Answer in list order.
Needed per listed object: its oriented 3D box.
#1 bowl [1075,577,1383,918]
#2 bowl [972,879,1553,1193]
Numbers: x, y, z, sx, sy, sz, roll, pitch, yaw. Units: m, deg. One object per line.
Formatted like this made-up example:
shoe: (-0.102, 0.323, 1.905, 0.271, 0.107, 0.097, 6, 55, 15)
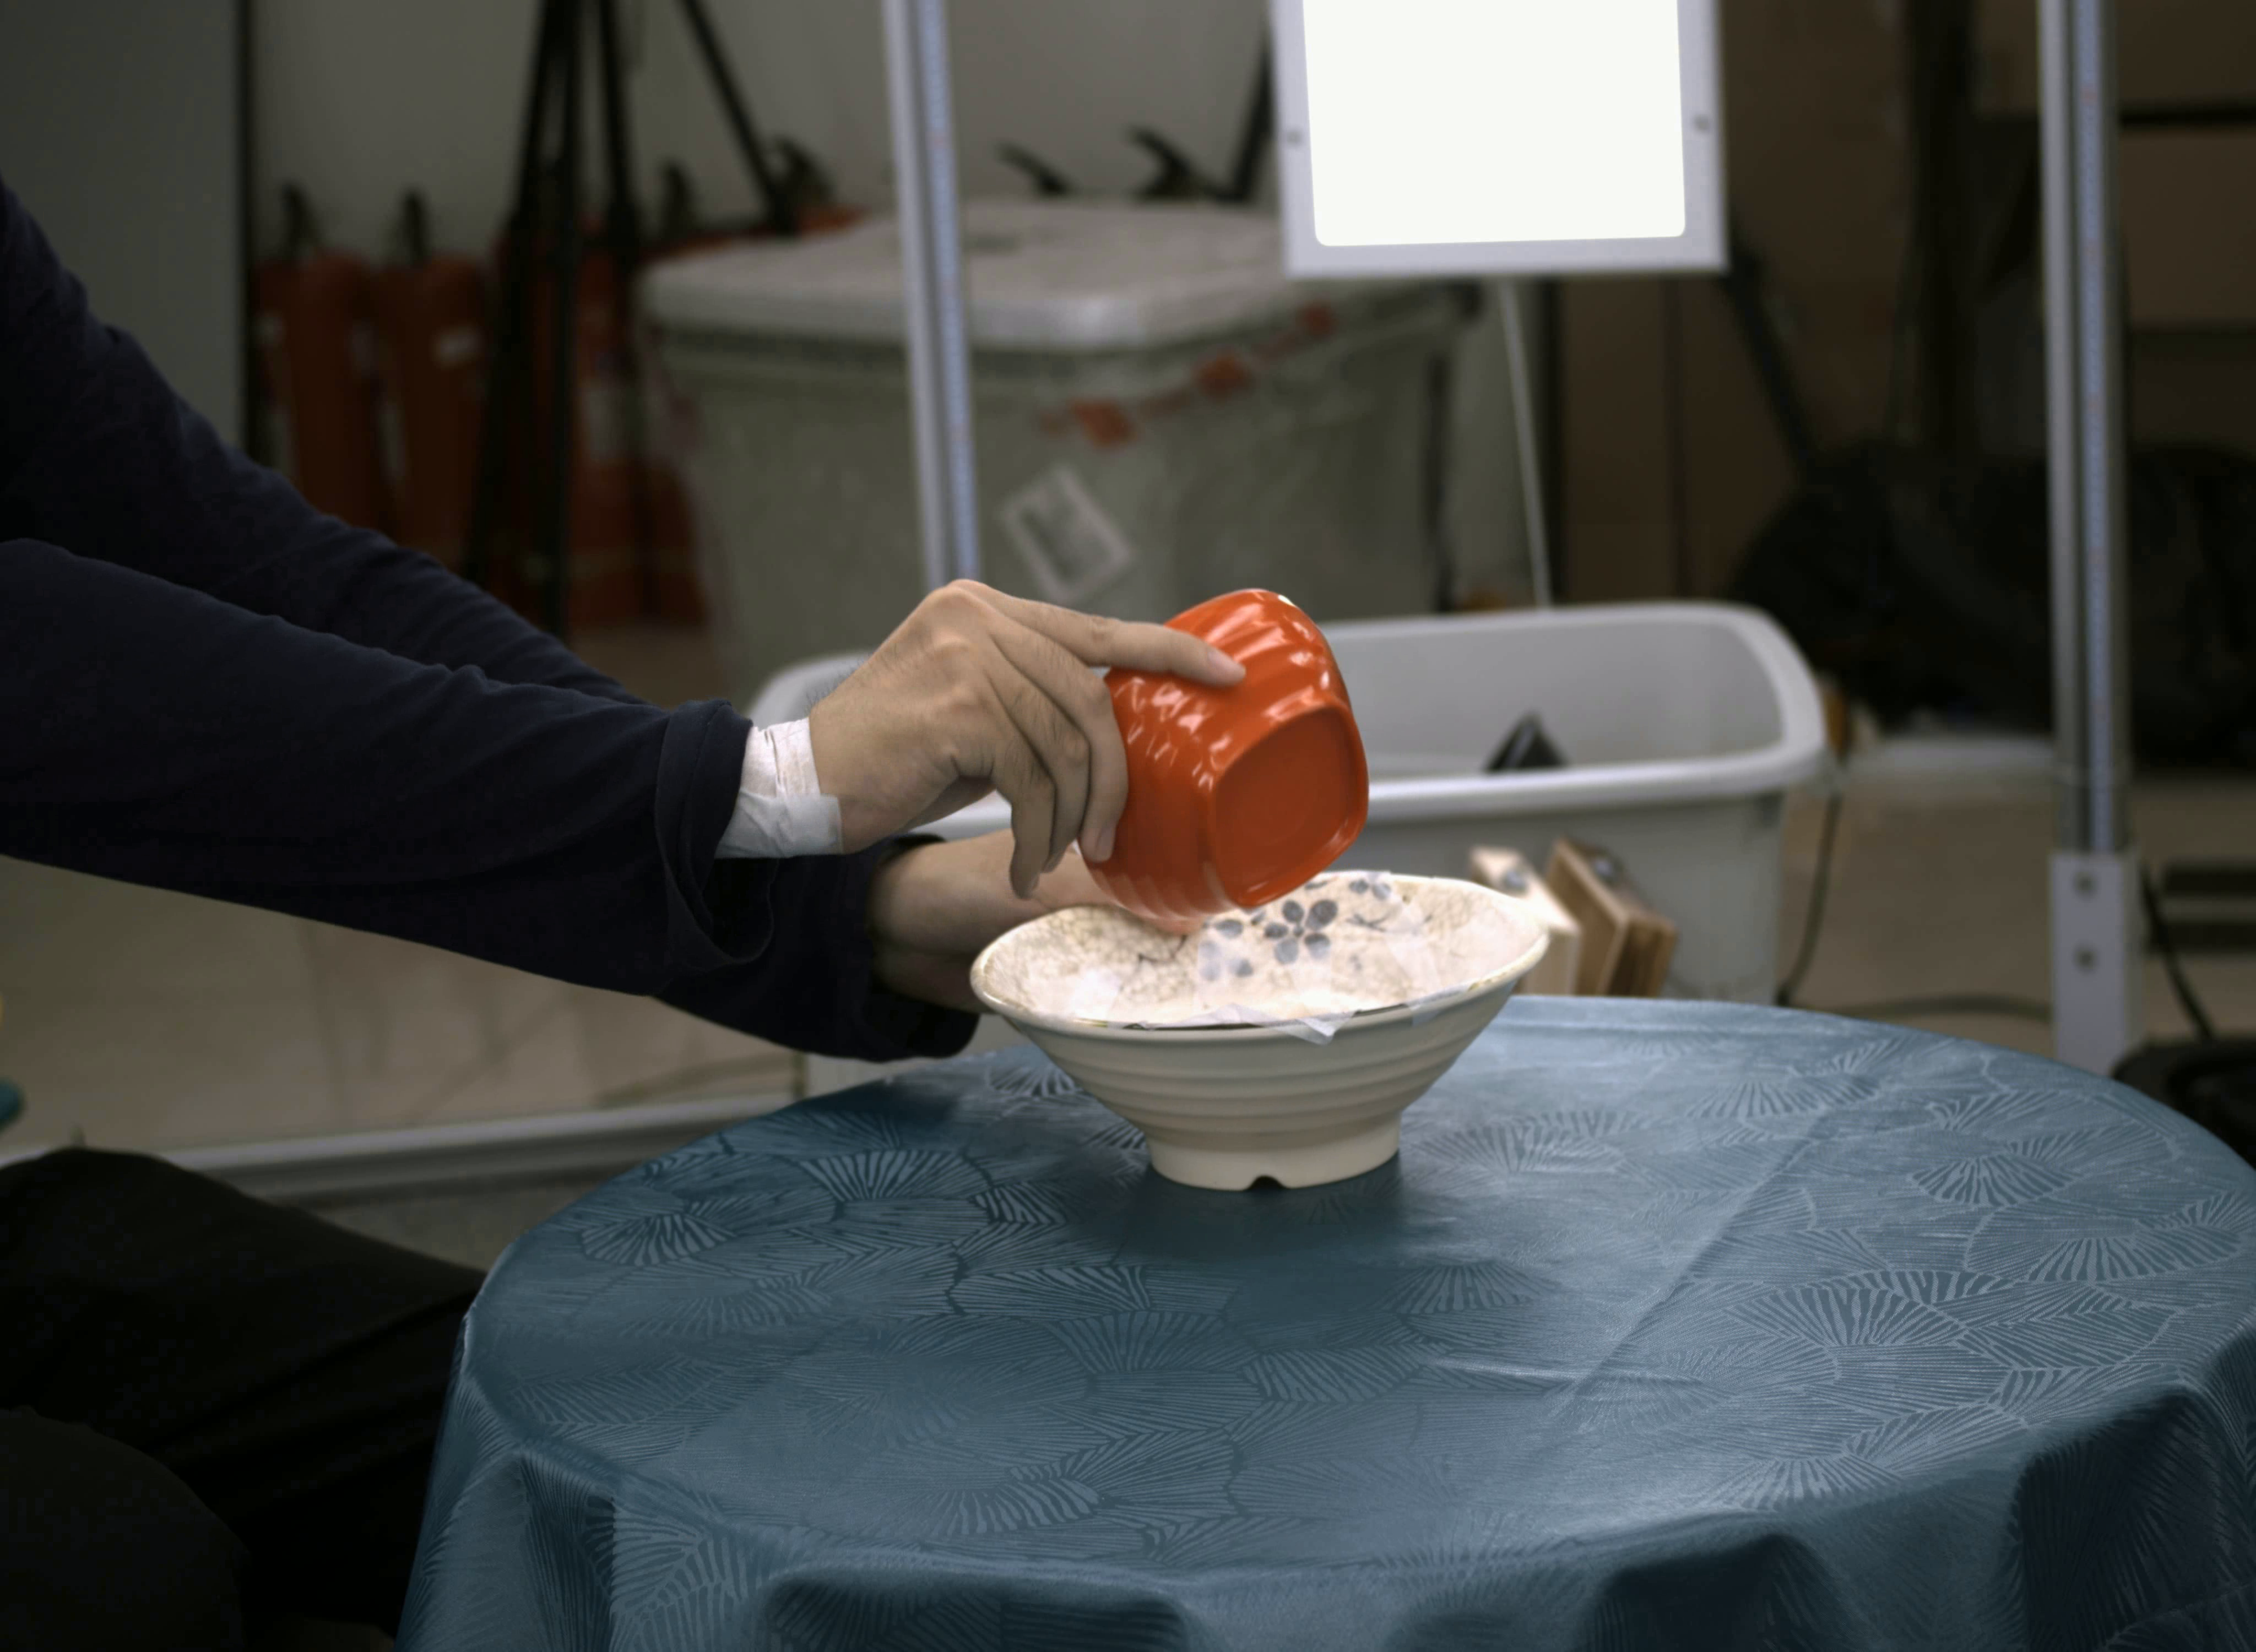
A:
bowl: (0.042, -0.019, 1.817, 0.116, 0.120, 0.052, -14, 29, -33)
bowl: (0.050, 0.079, 1.921, 0.203, 0.078, 0.204, -5, 13, 0)
